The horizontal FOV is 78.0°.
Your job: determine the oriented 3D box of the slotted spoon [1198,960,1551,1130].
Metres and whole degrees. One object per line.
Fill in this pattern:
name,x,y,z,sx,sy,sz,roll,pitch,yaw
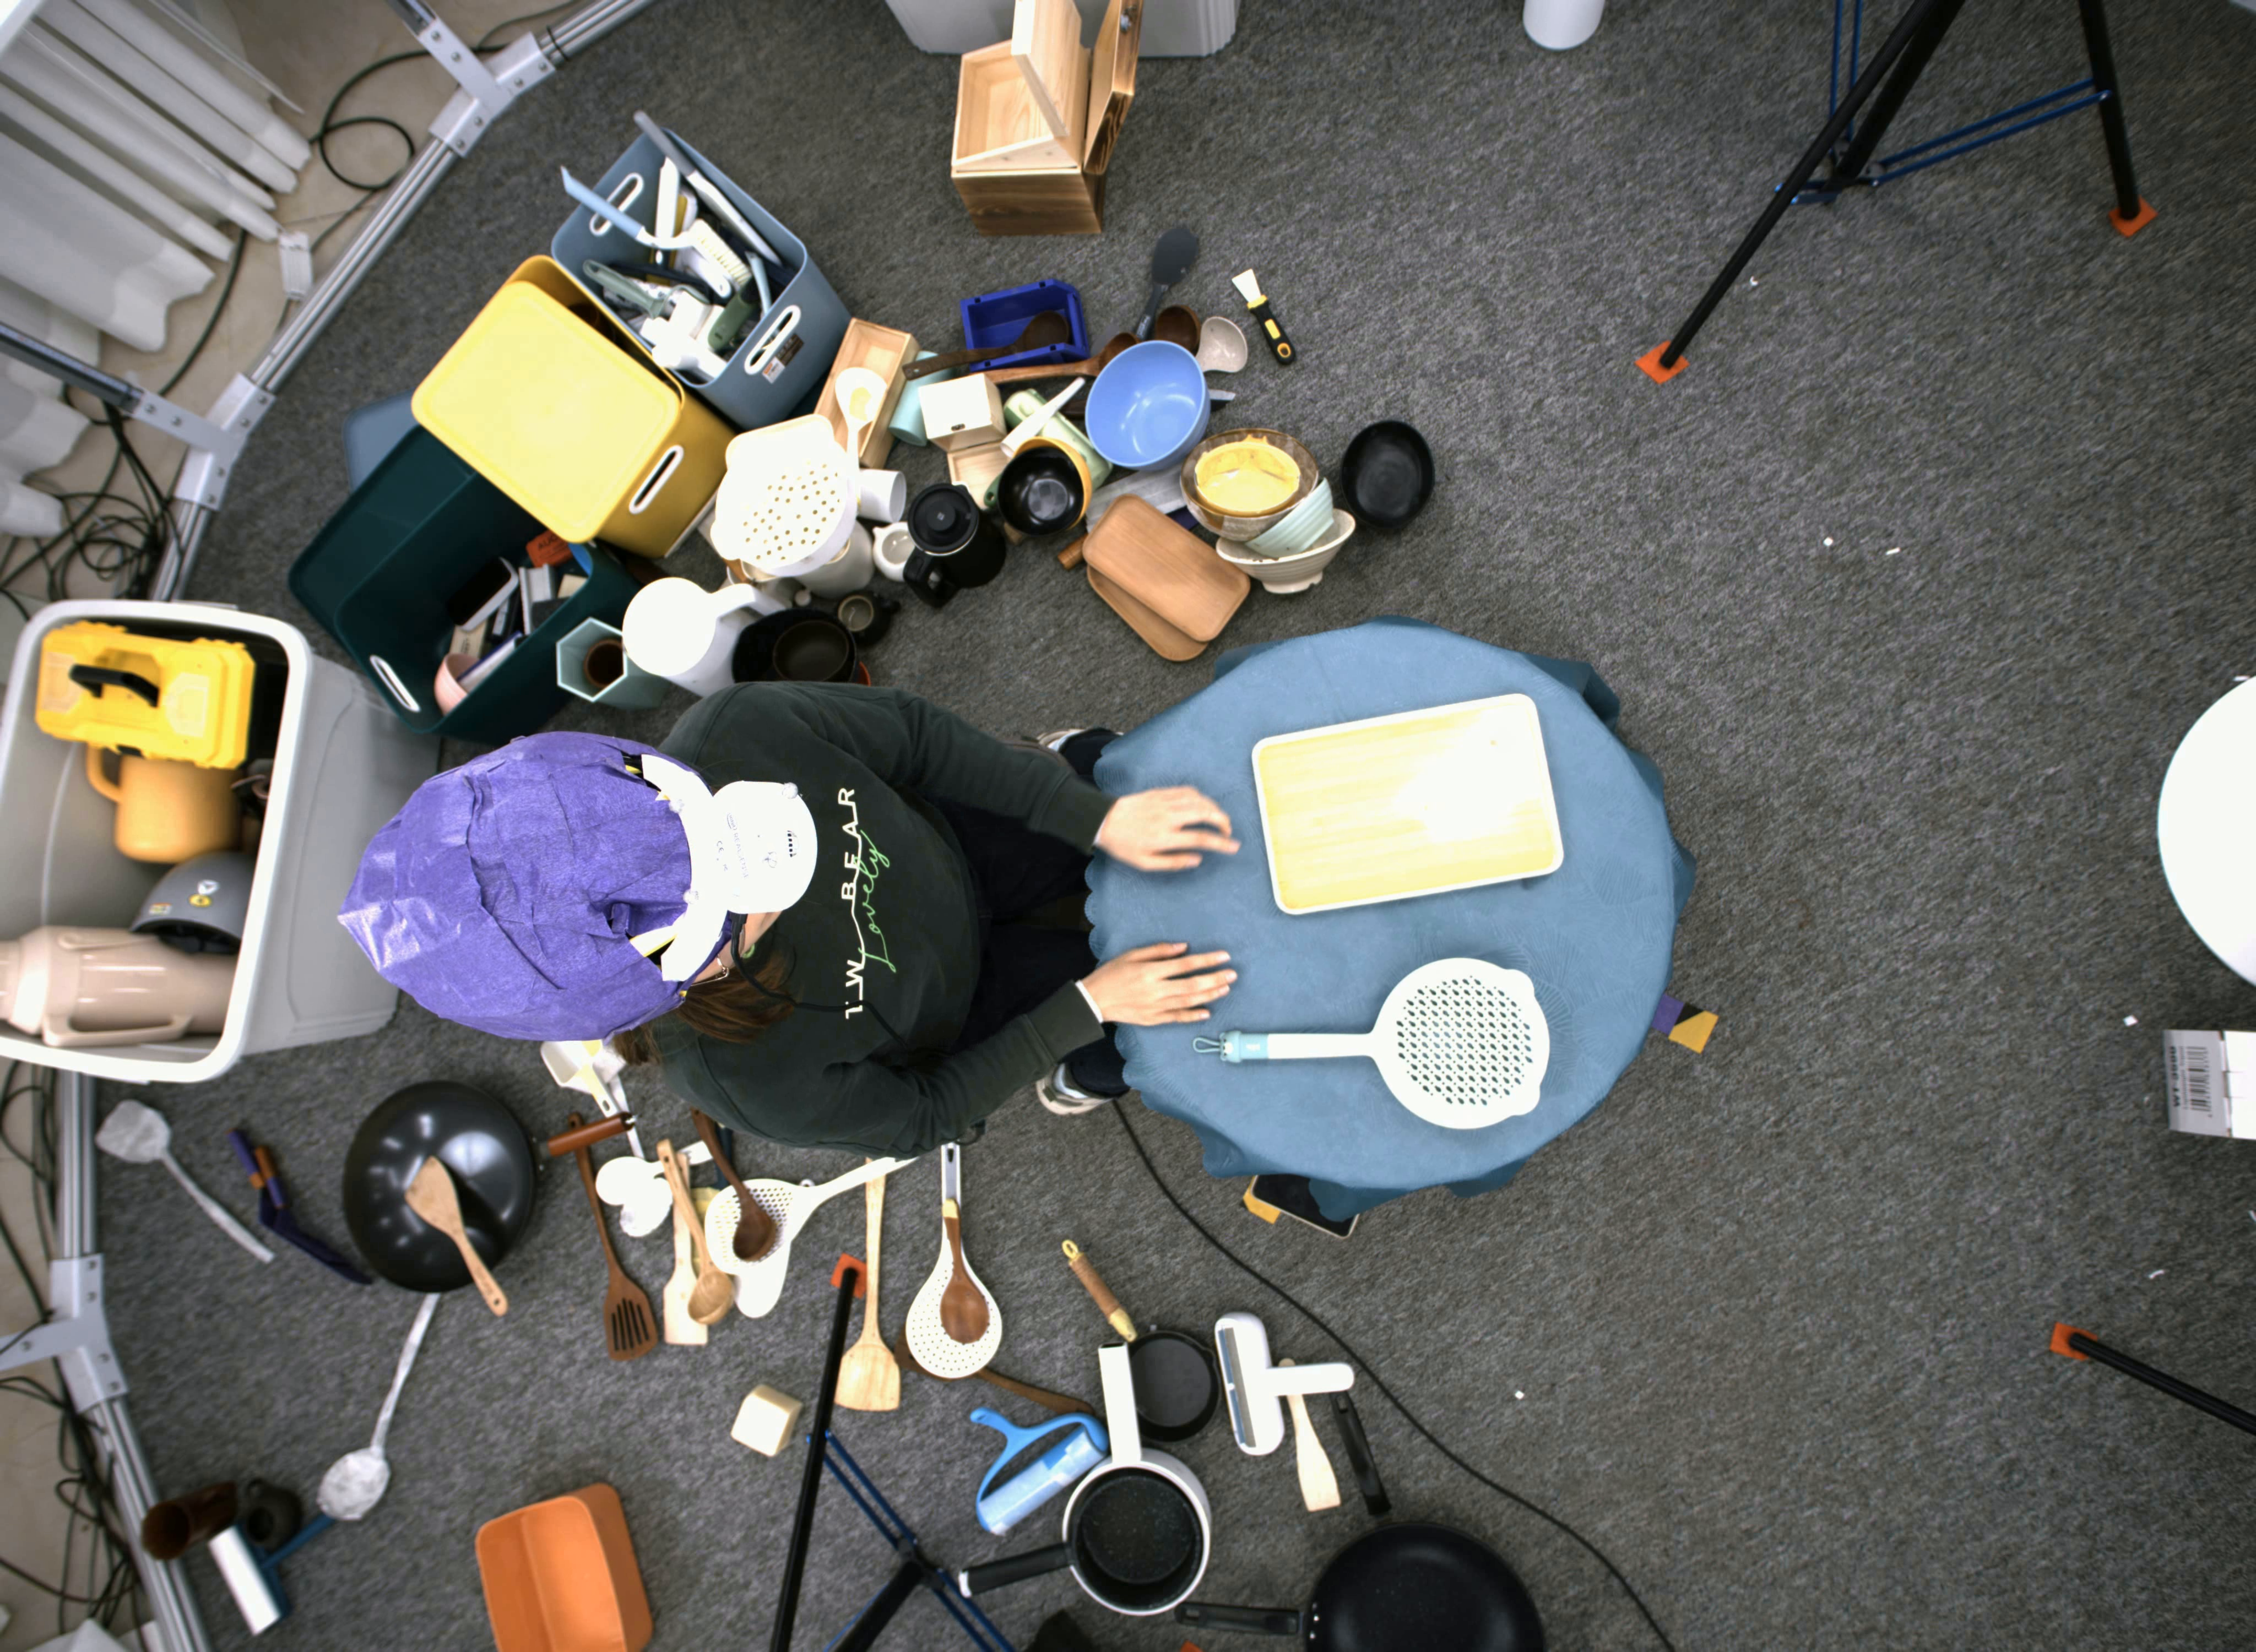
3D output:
slotted spoon,0.247,0.225,1.425,0.360,0.075,0.168,-3,84,10

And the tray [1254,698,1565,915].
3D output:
tray,0.294,-0.021,1.454,0.302,0.027,0.190,-9,84,9
